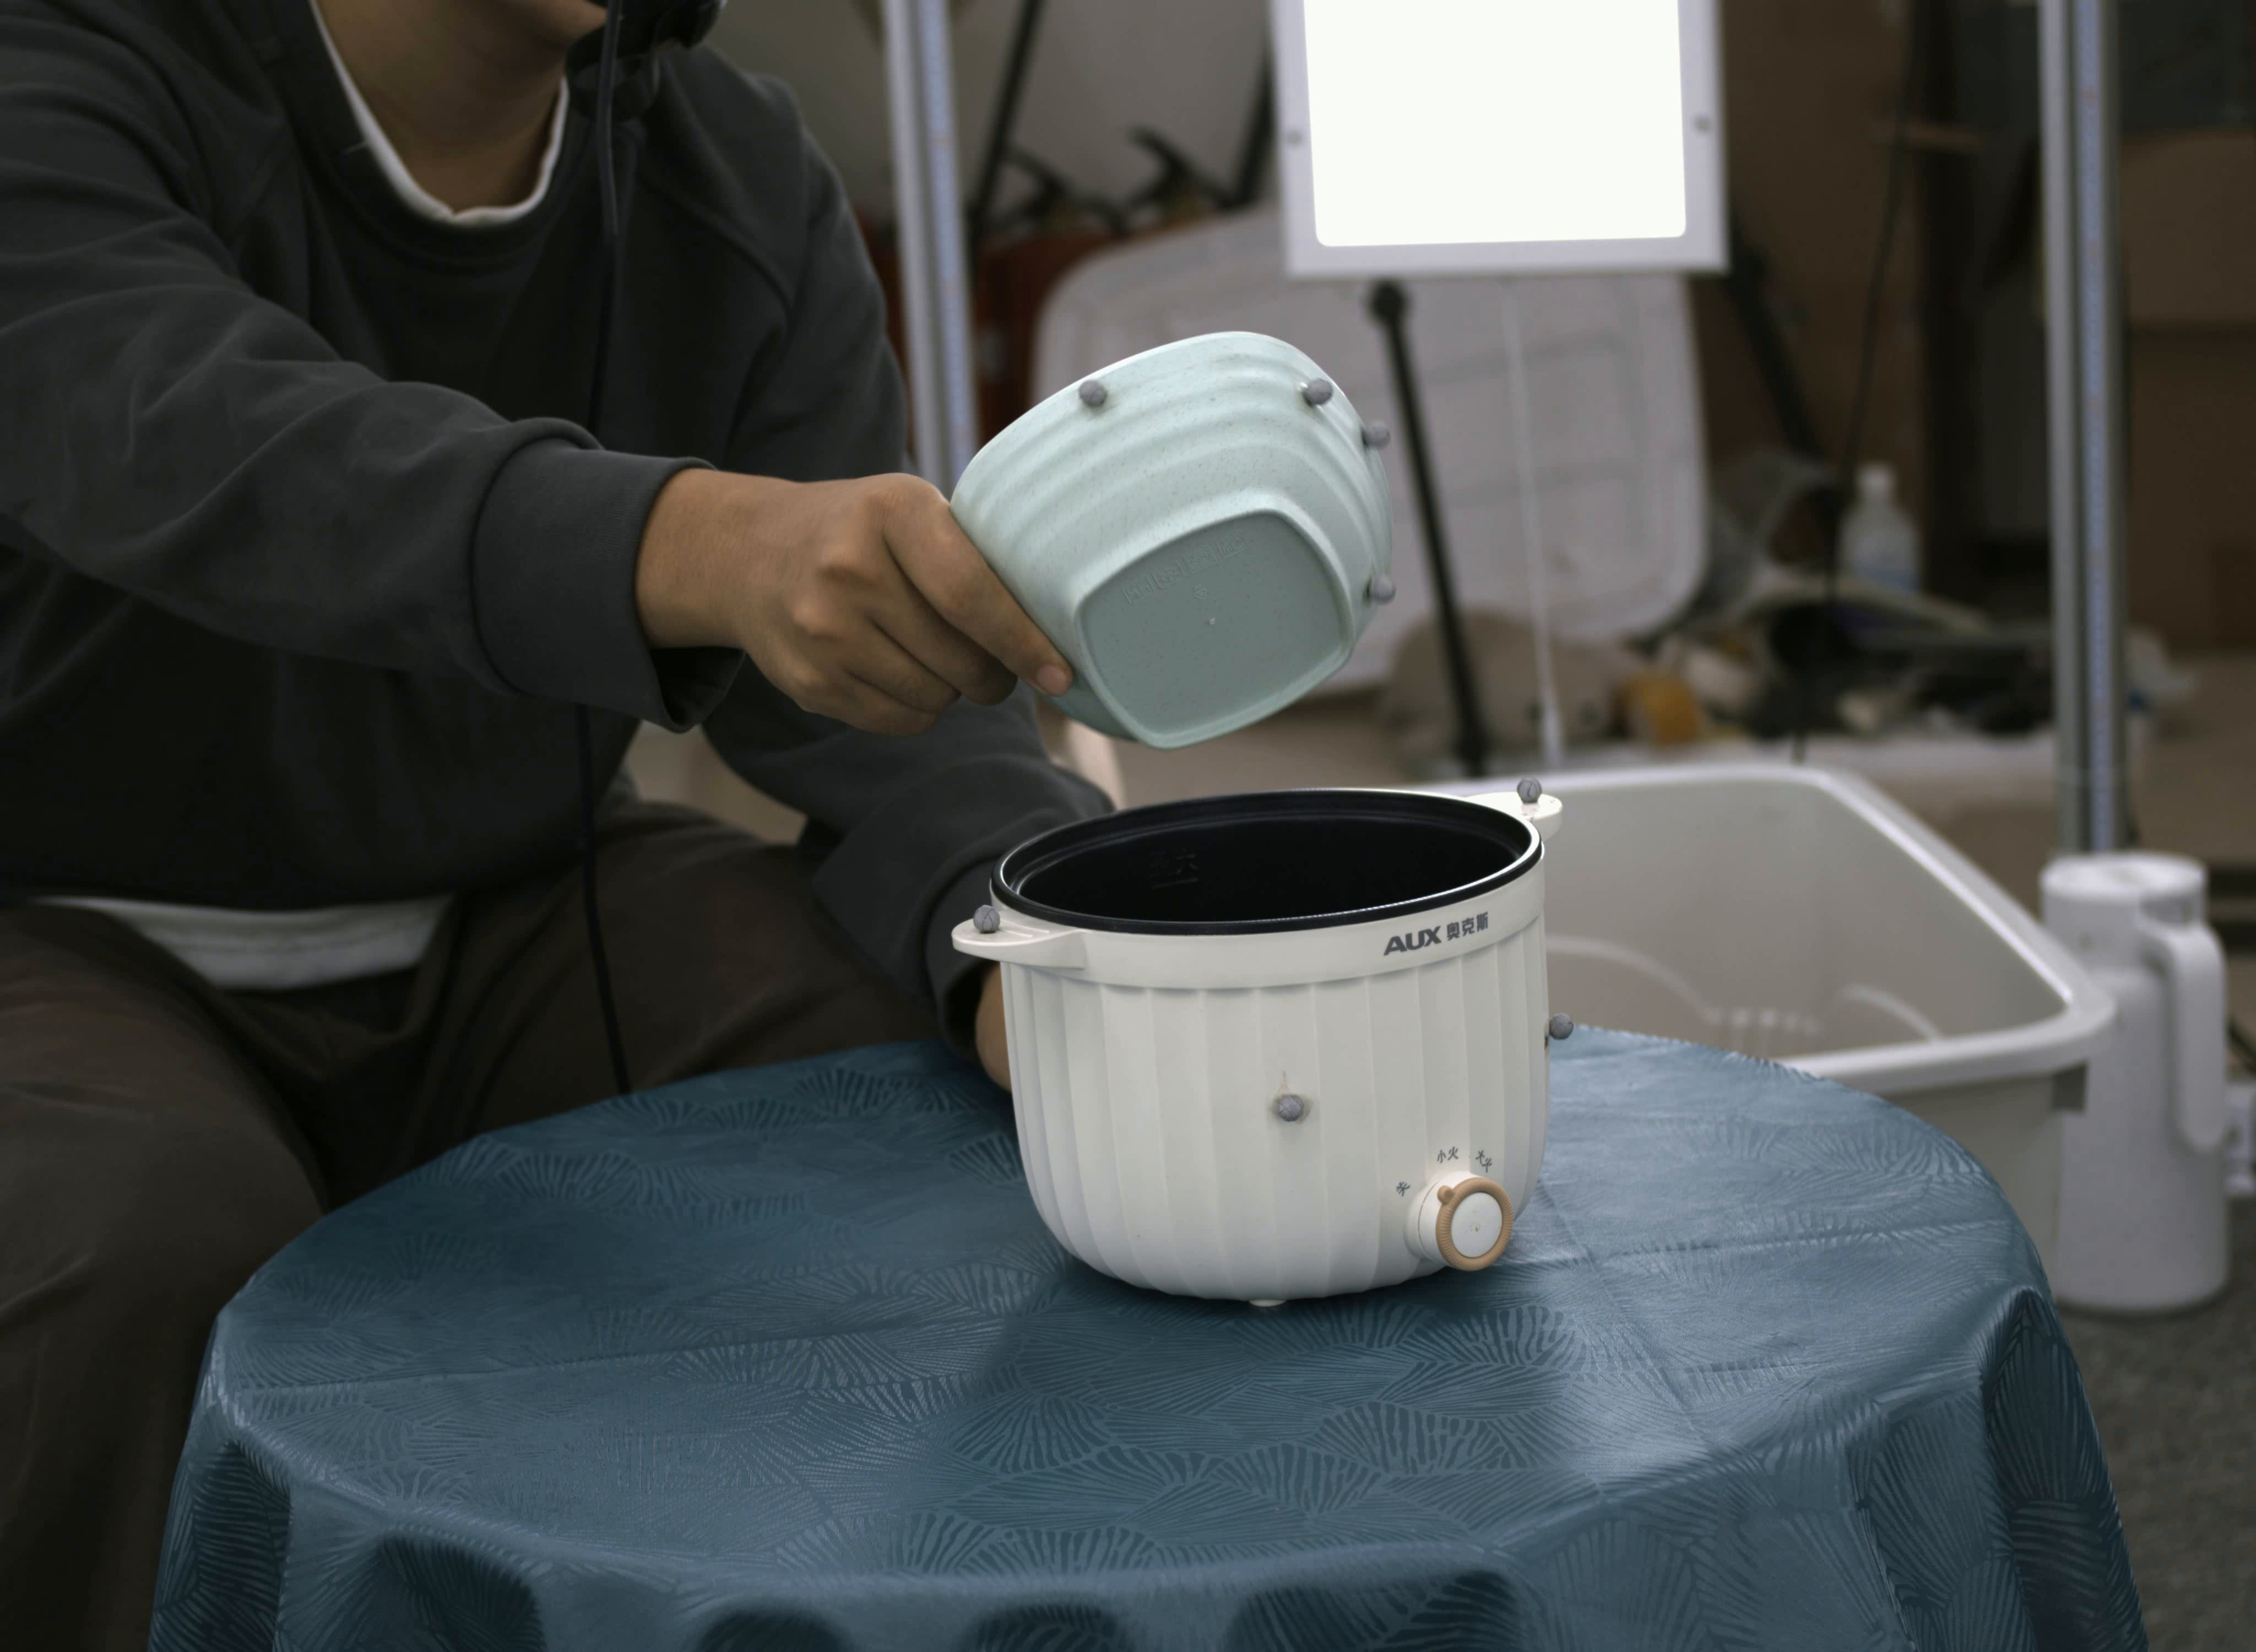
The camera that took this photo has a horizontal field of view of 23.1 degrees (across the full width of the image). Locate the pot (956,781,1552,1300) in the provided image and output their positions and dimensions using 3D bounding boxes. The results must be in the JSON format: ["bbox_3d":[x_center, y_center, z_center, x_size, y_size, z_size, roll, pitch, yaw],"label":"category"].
[{"bbox_3d":[0.054,0.072,1.806,0.234,0.143,0.194,-16,14,-33],"label":"pot"}]

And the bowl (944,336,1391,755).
[{"bbox_3d":[0.020,-0.078,1.729,0.150,0.152,0.059,-7,43,-11],"label":"bowl"}]
